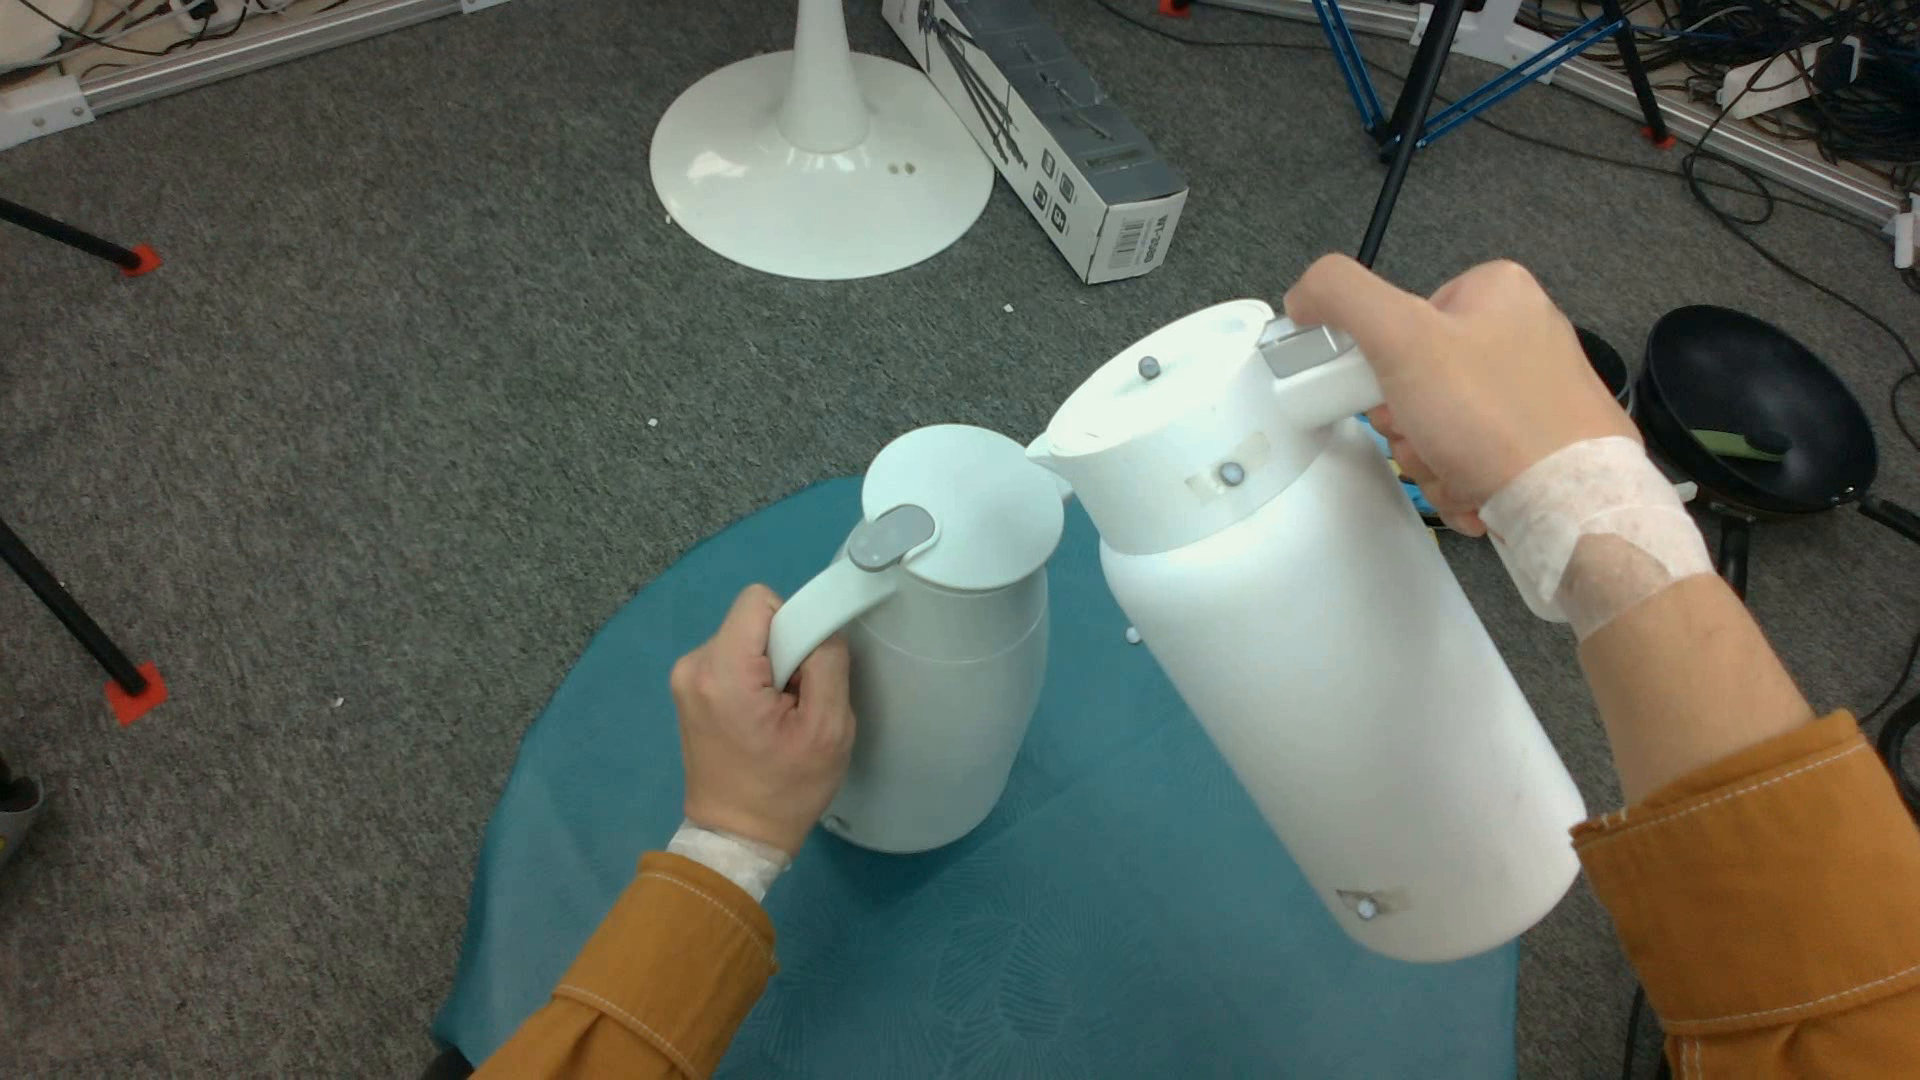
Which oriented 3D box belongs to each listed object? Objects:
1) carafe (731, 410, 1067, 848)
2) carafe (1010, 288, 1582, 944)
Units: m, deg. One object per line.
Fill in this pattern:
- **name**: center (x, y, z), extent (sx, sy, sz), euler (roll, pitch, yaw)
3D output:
- **carafe**: center (-0.037, 0.053, 0.692), extent (0.168, 0.247, 0.133), euler (-25, 63, -26)
- **carafe**: center (0.156, 0.028, 0.550), extent (0.268, 0.172, 0.124), euler (56, 40, -17)
